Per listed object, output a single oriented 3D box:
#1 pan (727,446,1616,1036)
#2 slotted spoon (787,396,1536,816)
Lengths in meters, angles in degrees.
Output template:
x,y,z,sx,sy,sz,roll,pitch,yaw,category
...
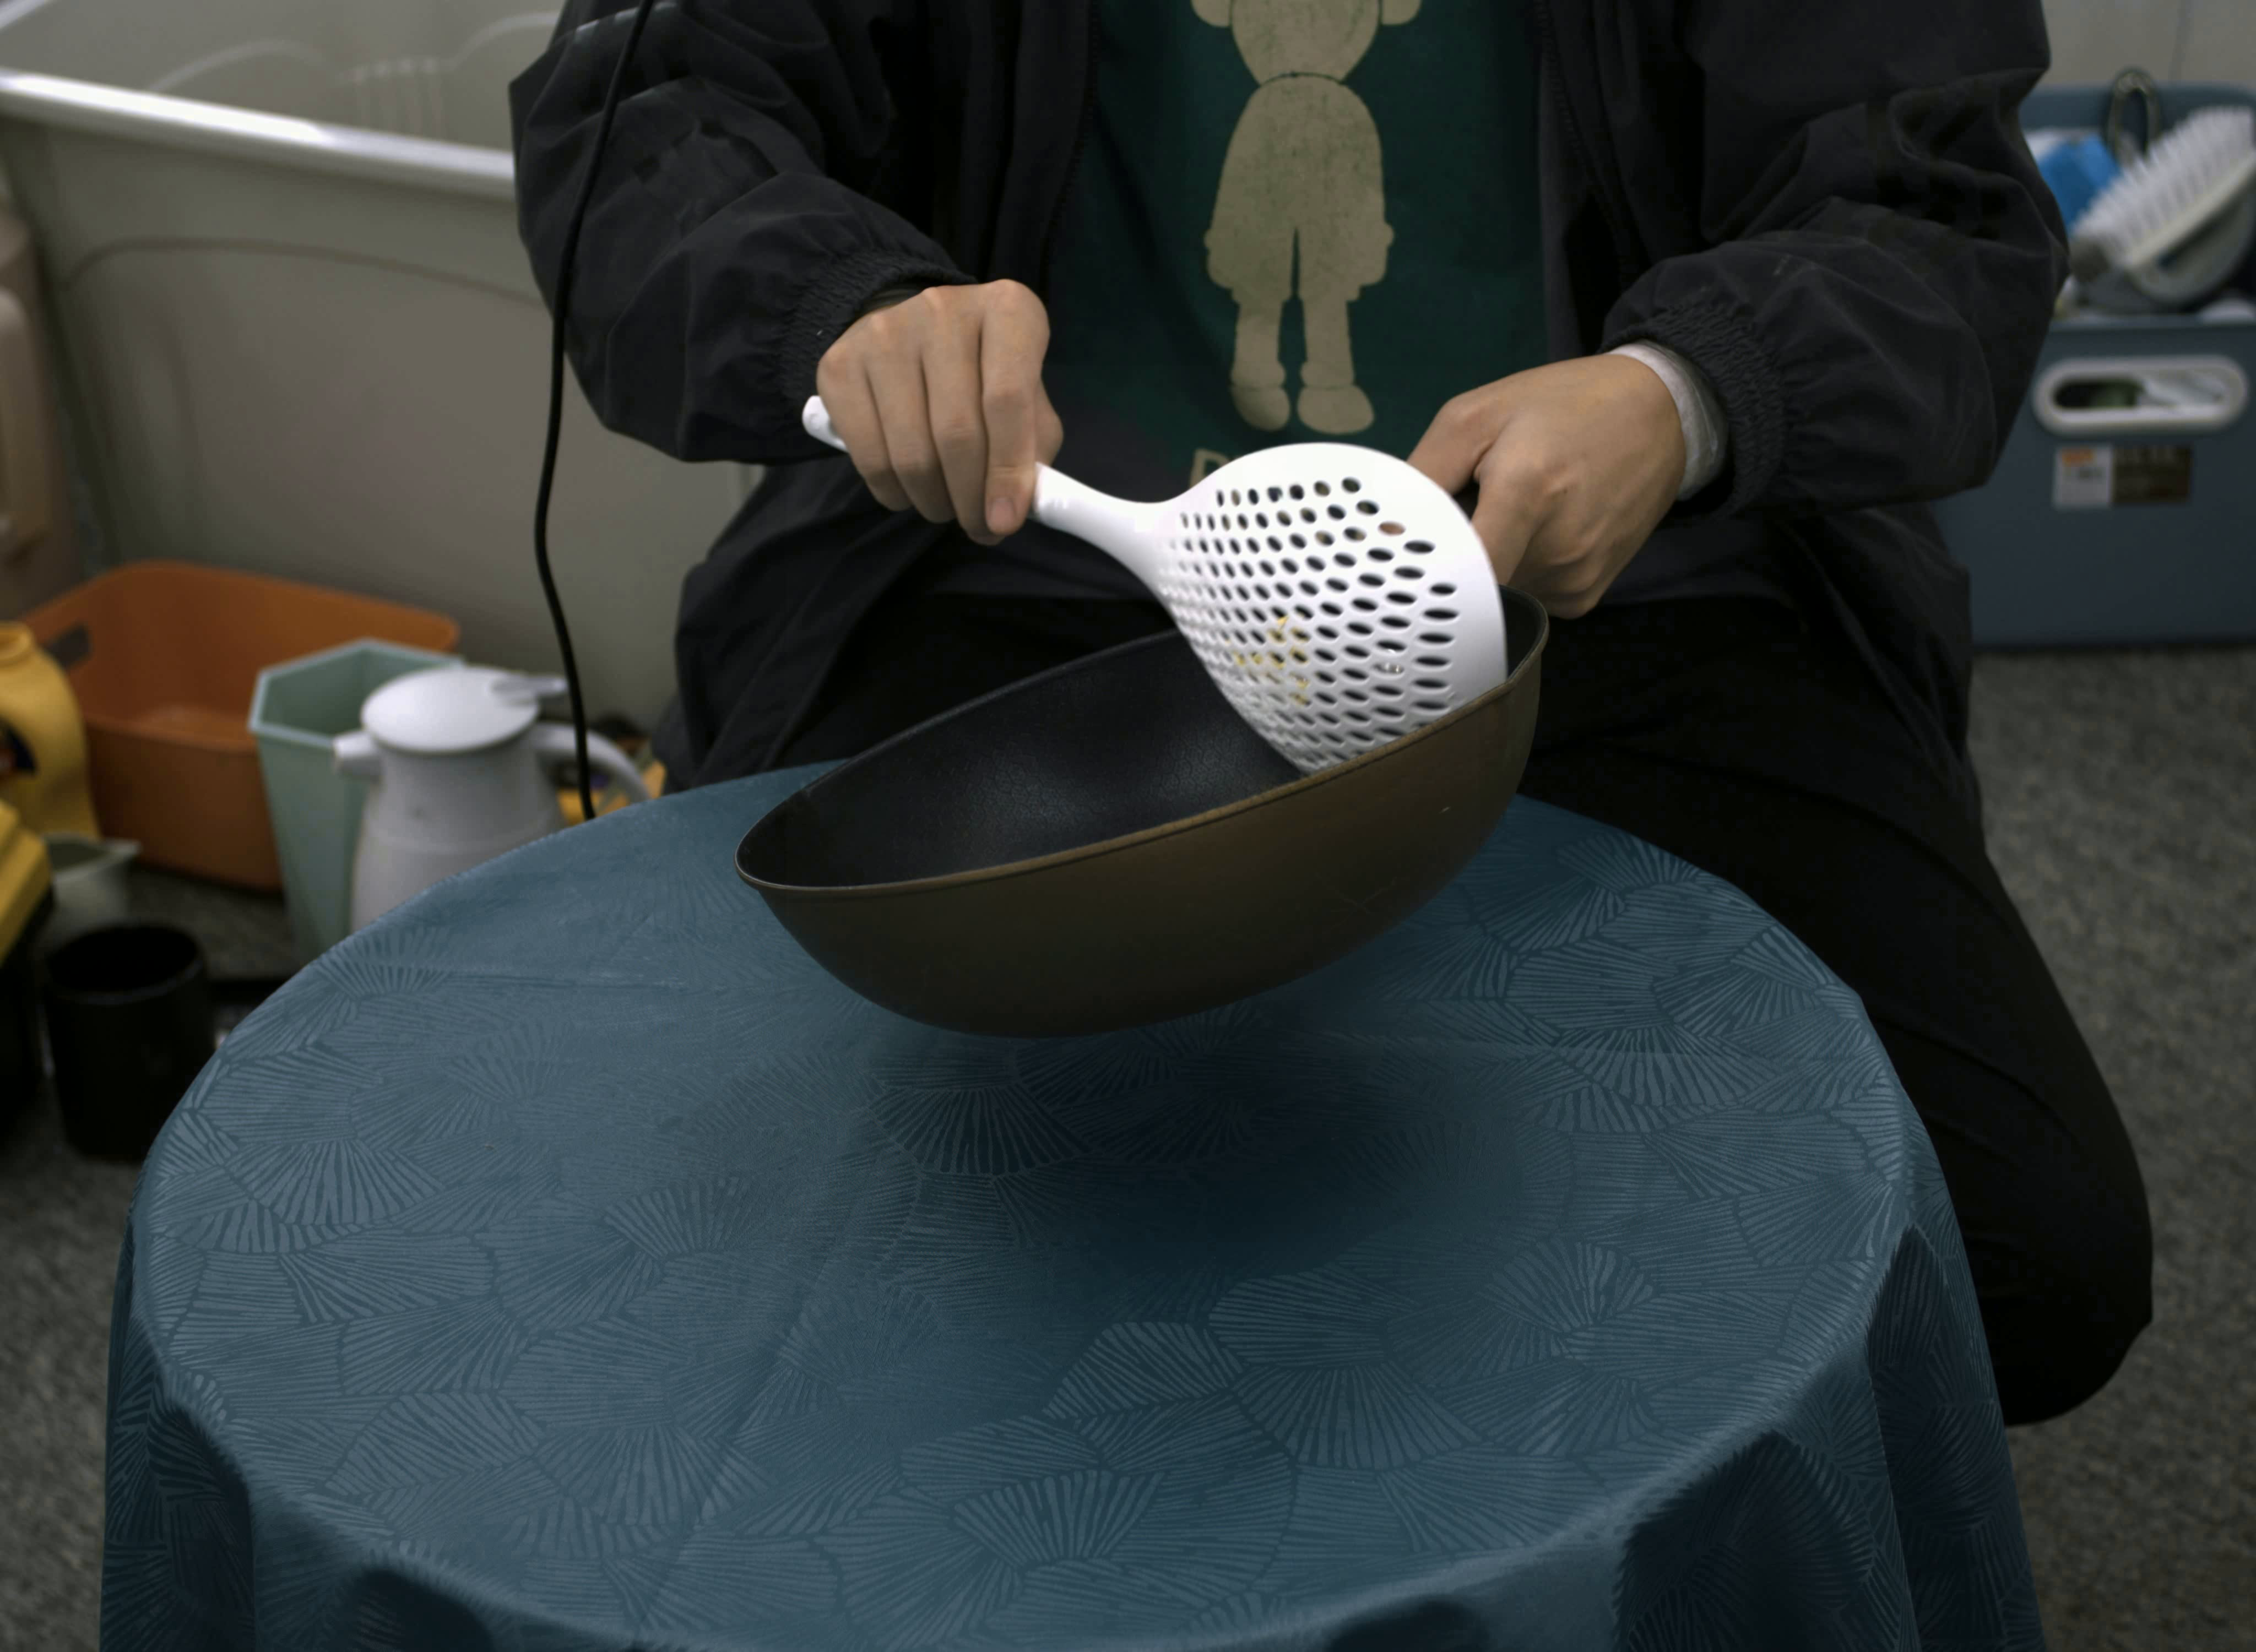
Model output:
x,y,z,sx,sy,sz,roll,pitch,yaw,category
0.059,-0.028,1.935,0.285,0.086,0.470,-8,15,34,pan
0.005,-0.096,1.953,0.051,0.135,0.348,-21,31,-35,slotted spoon
